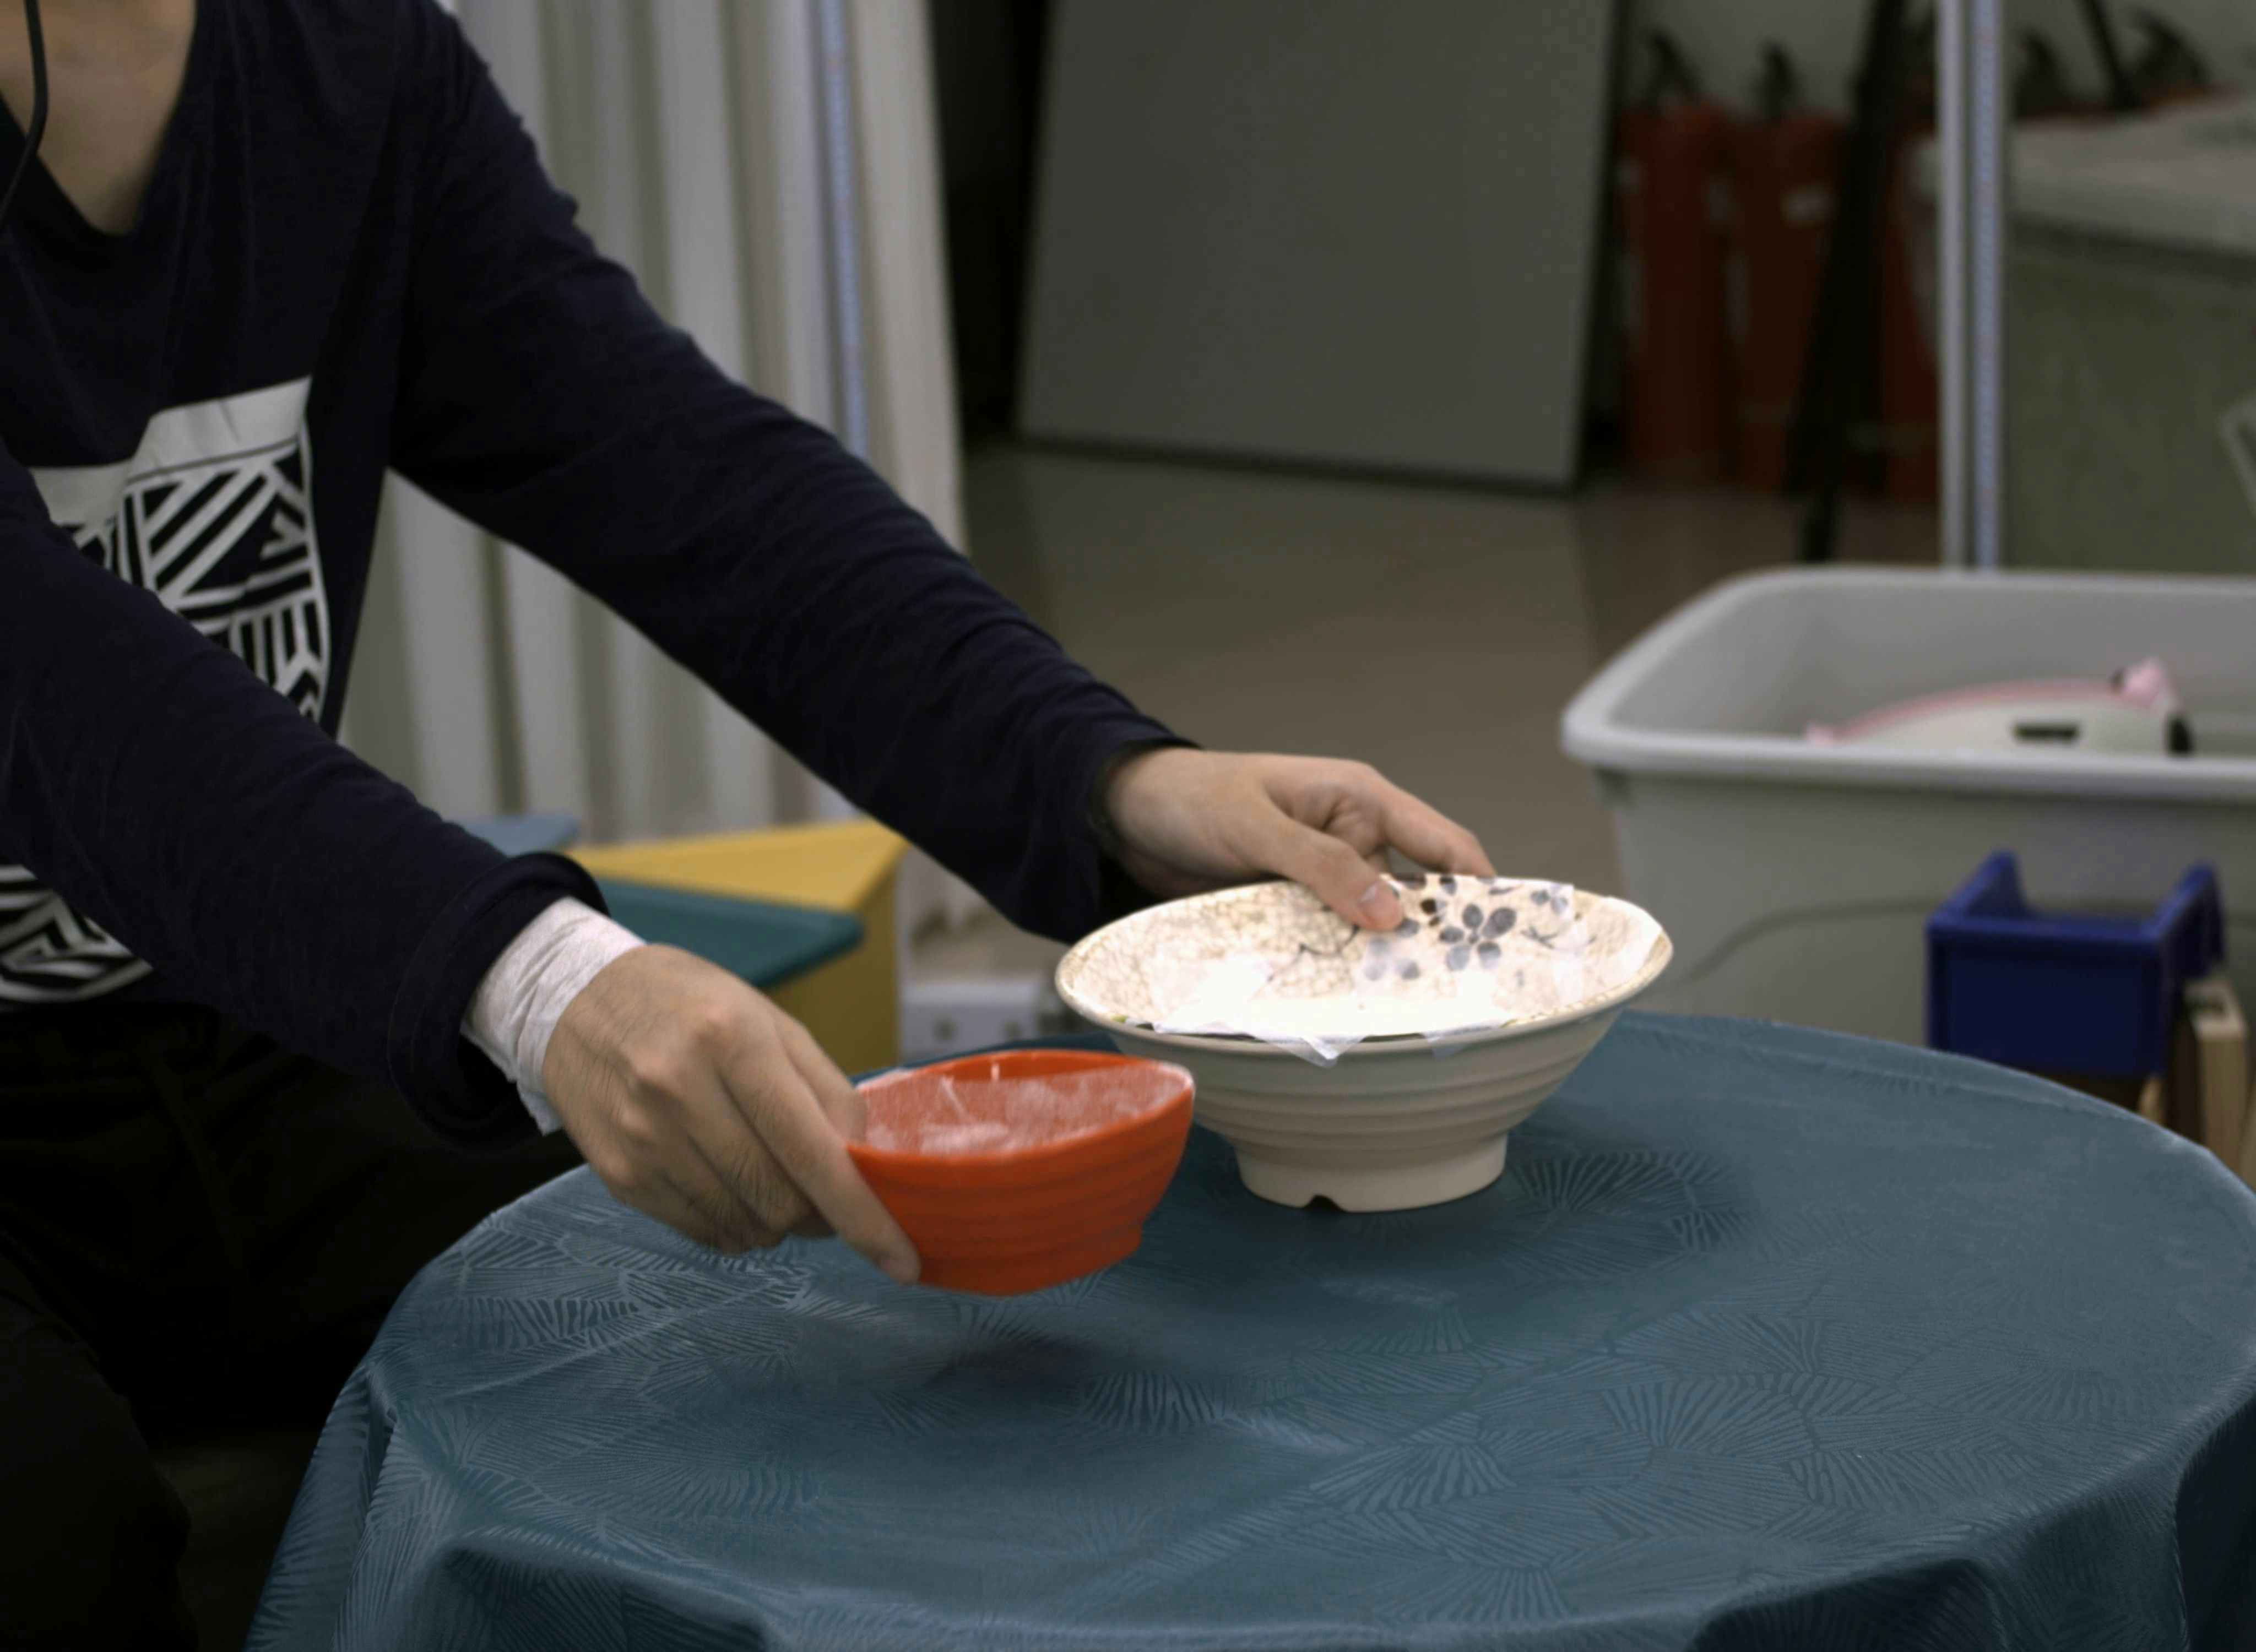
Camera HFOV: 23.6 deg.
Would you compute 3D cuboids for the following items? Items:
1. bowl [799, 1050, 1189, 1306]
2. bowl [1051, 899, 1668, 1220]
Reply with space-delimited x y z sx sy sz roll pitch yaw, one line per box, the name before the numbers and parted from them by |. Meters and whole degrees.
bowl | -0.037 0.107 1.615 0.117 0.052 0.119 -7 13 1
bowl | 0.077 0.081 1.762 0.201 0.079 0.204 -4 10 0
